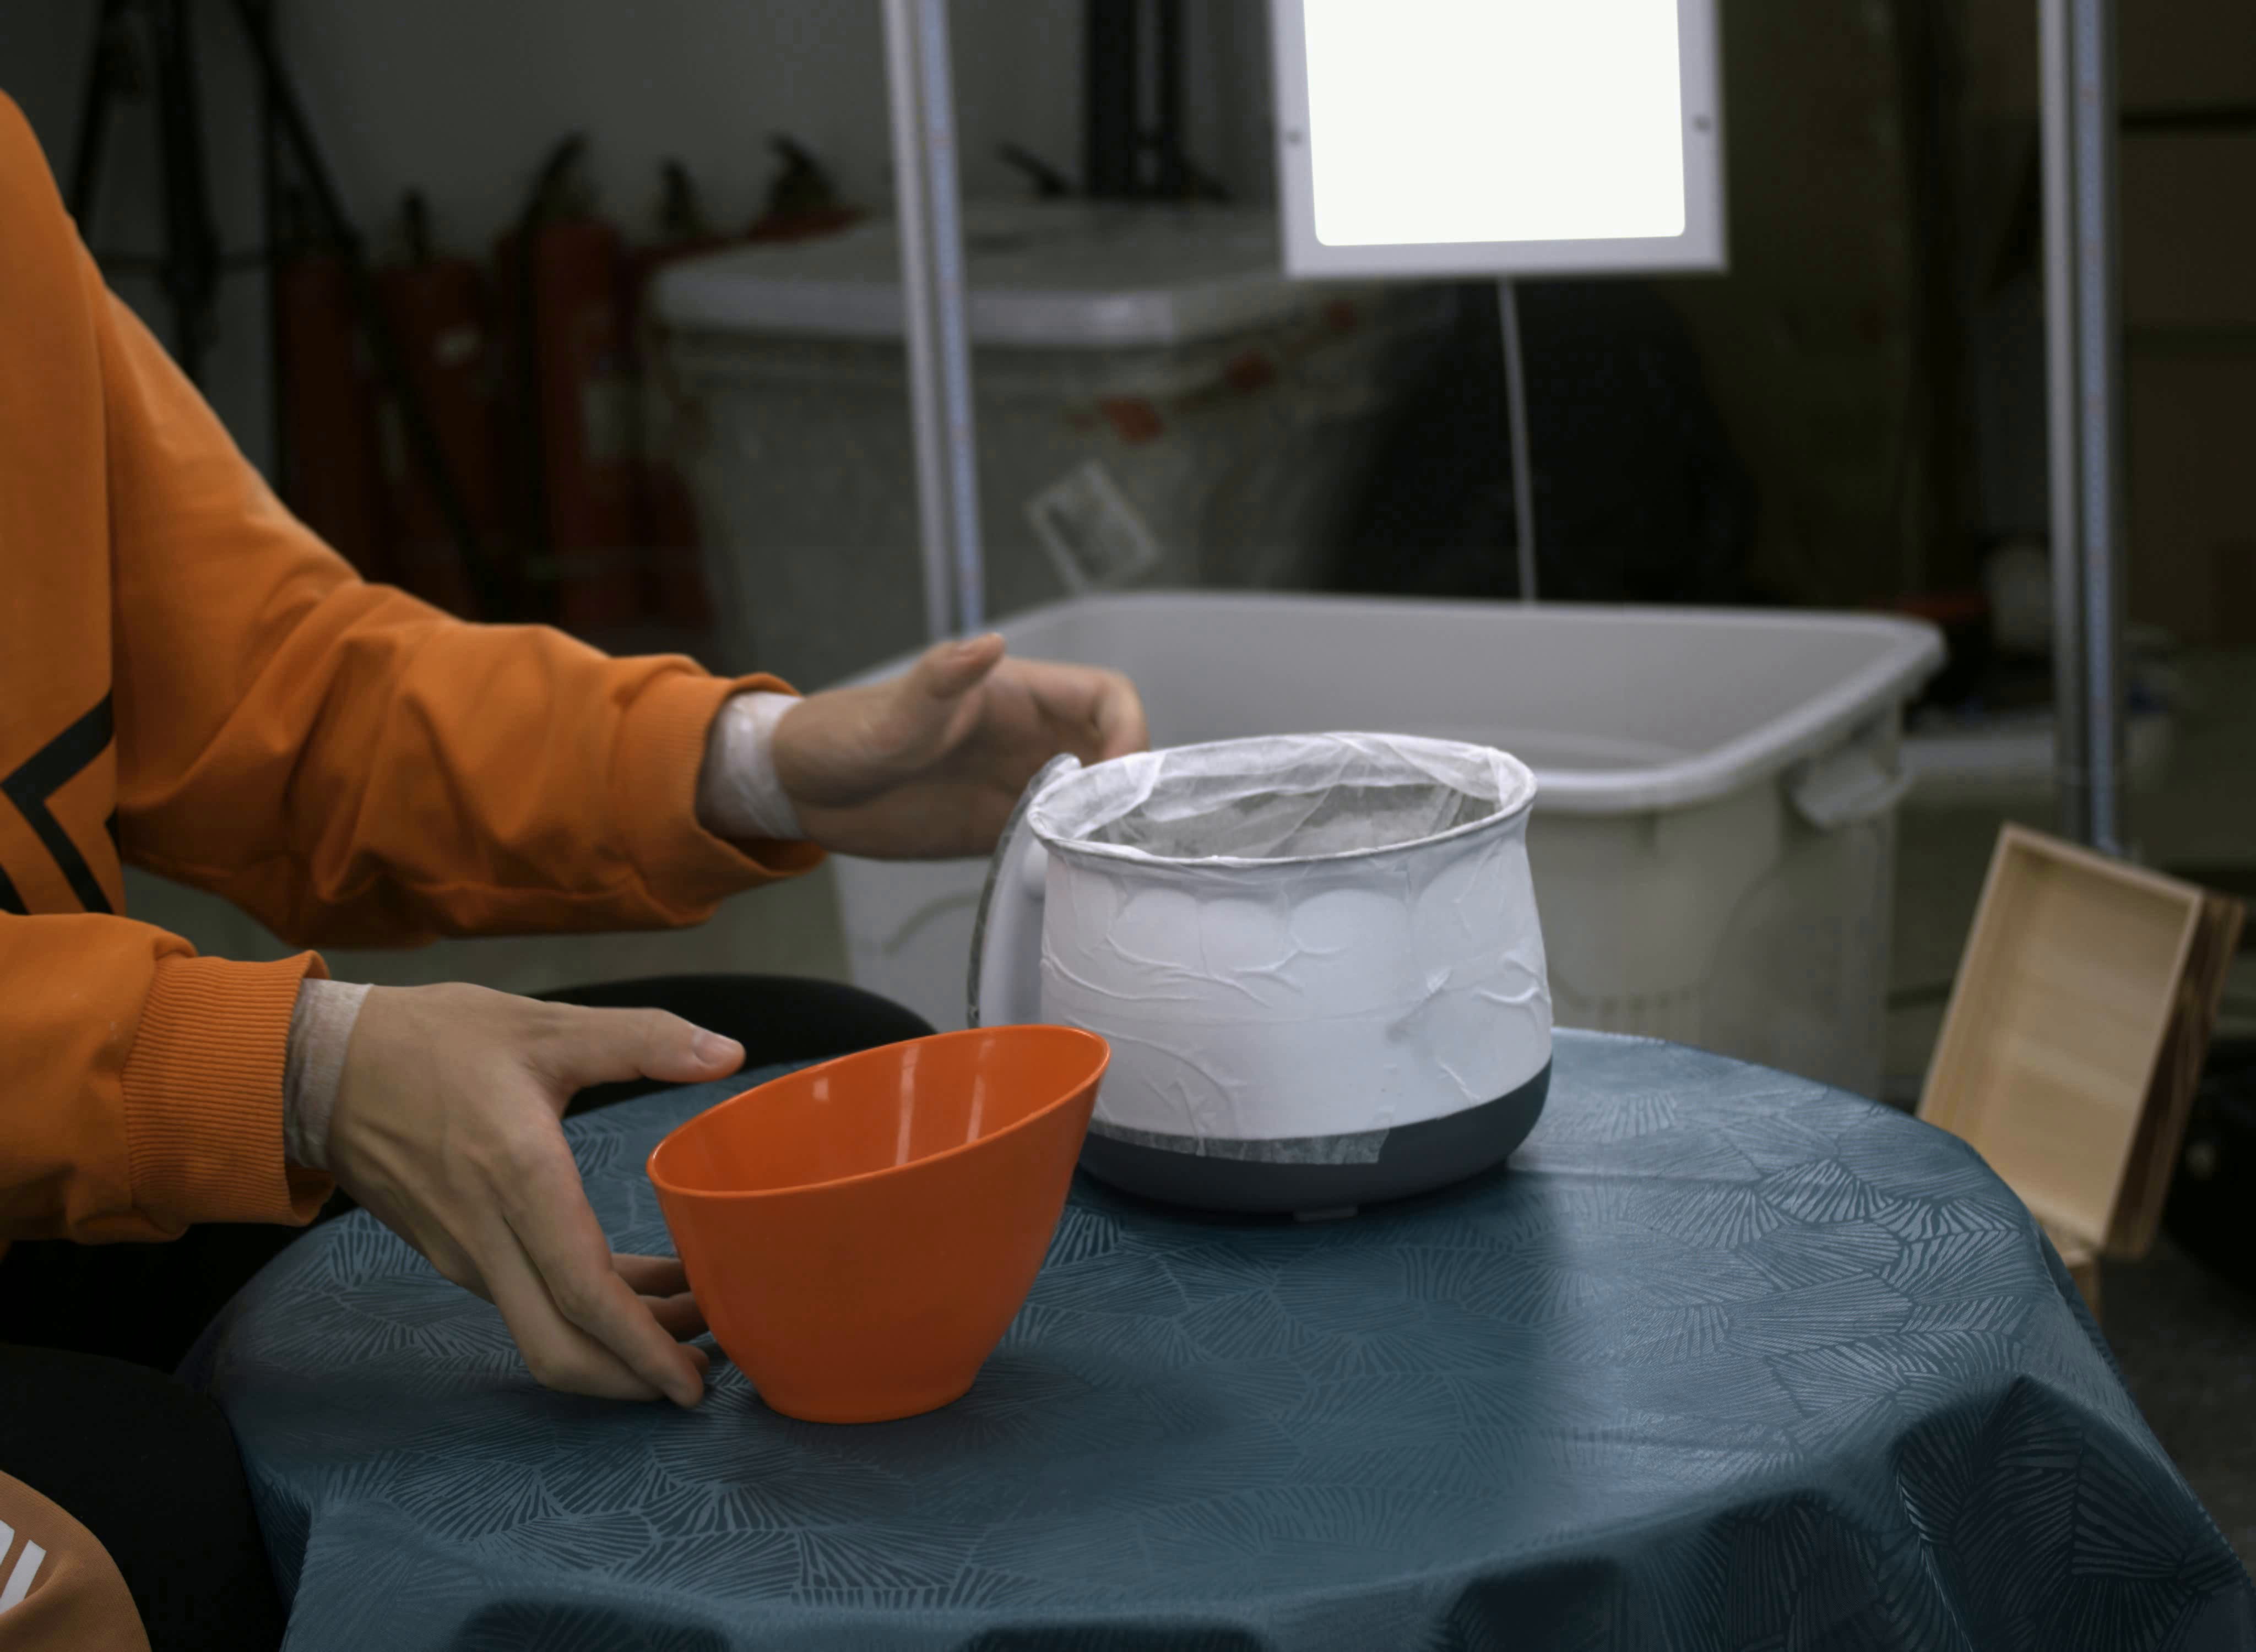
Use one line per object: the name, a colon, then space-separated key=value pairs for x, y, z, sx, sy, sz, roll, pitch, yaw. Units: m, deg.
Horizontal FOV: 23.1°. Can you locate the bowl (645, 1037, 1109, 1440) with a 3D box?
bowl: x=-0.074 y=0.130 z=1.710 sx=0.147 sy=0.105 sz=0.148 roll=-6 pitch=13 yaw=0

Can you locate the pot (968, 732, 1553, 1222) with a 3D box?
pot: x=0.036 y=0.047 z=1.917 sx=0.239 sy=0.137 sz=0.174 roll=7 pitch=18 yaw=40
